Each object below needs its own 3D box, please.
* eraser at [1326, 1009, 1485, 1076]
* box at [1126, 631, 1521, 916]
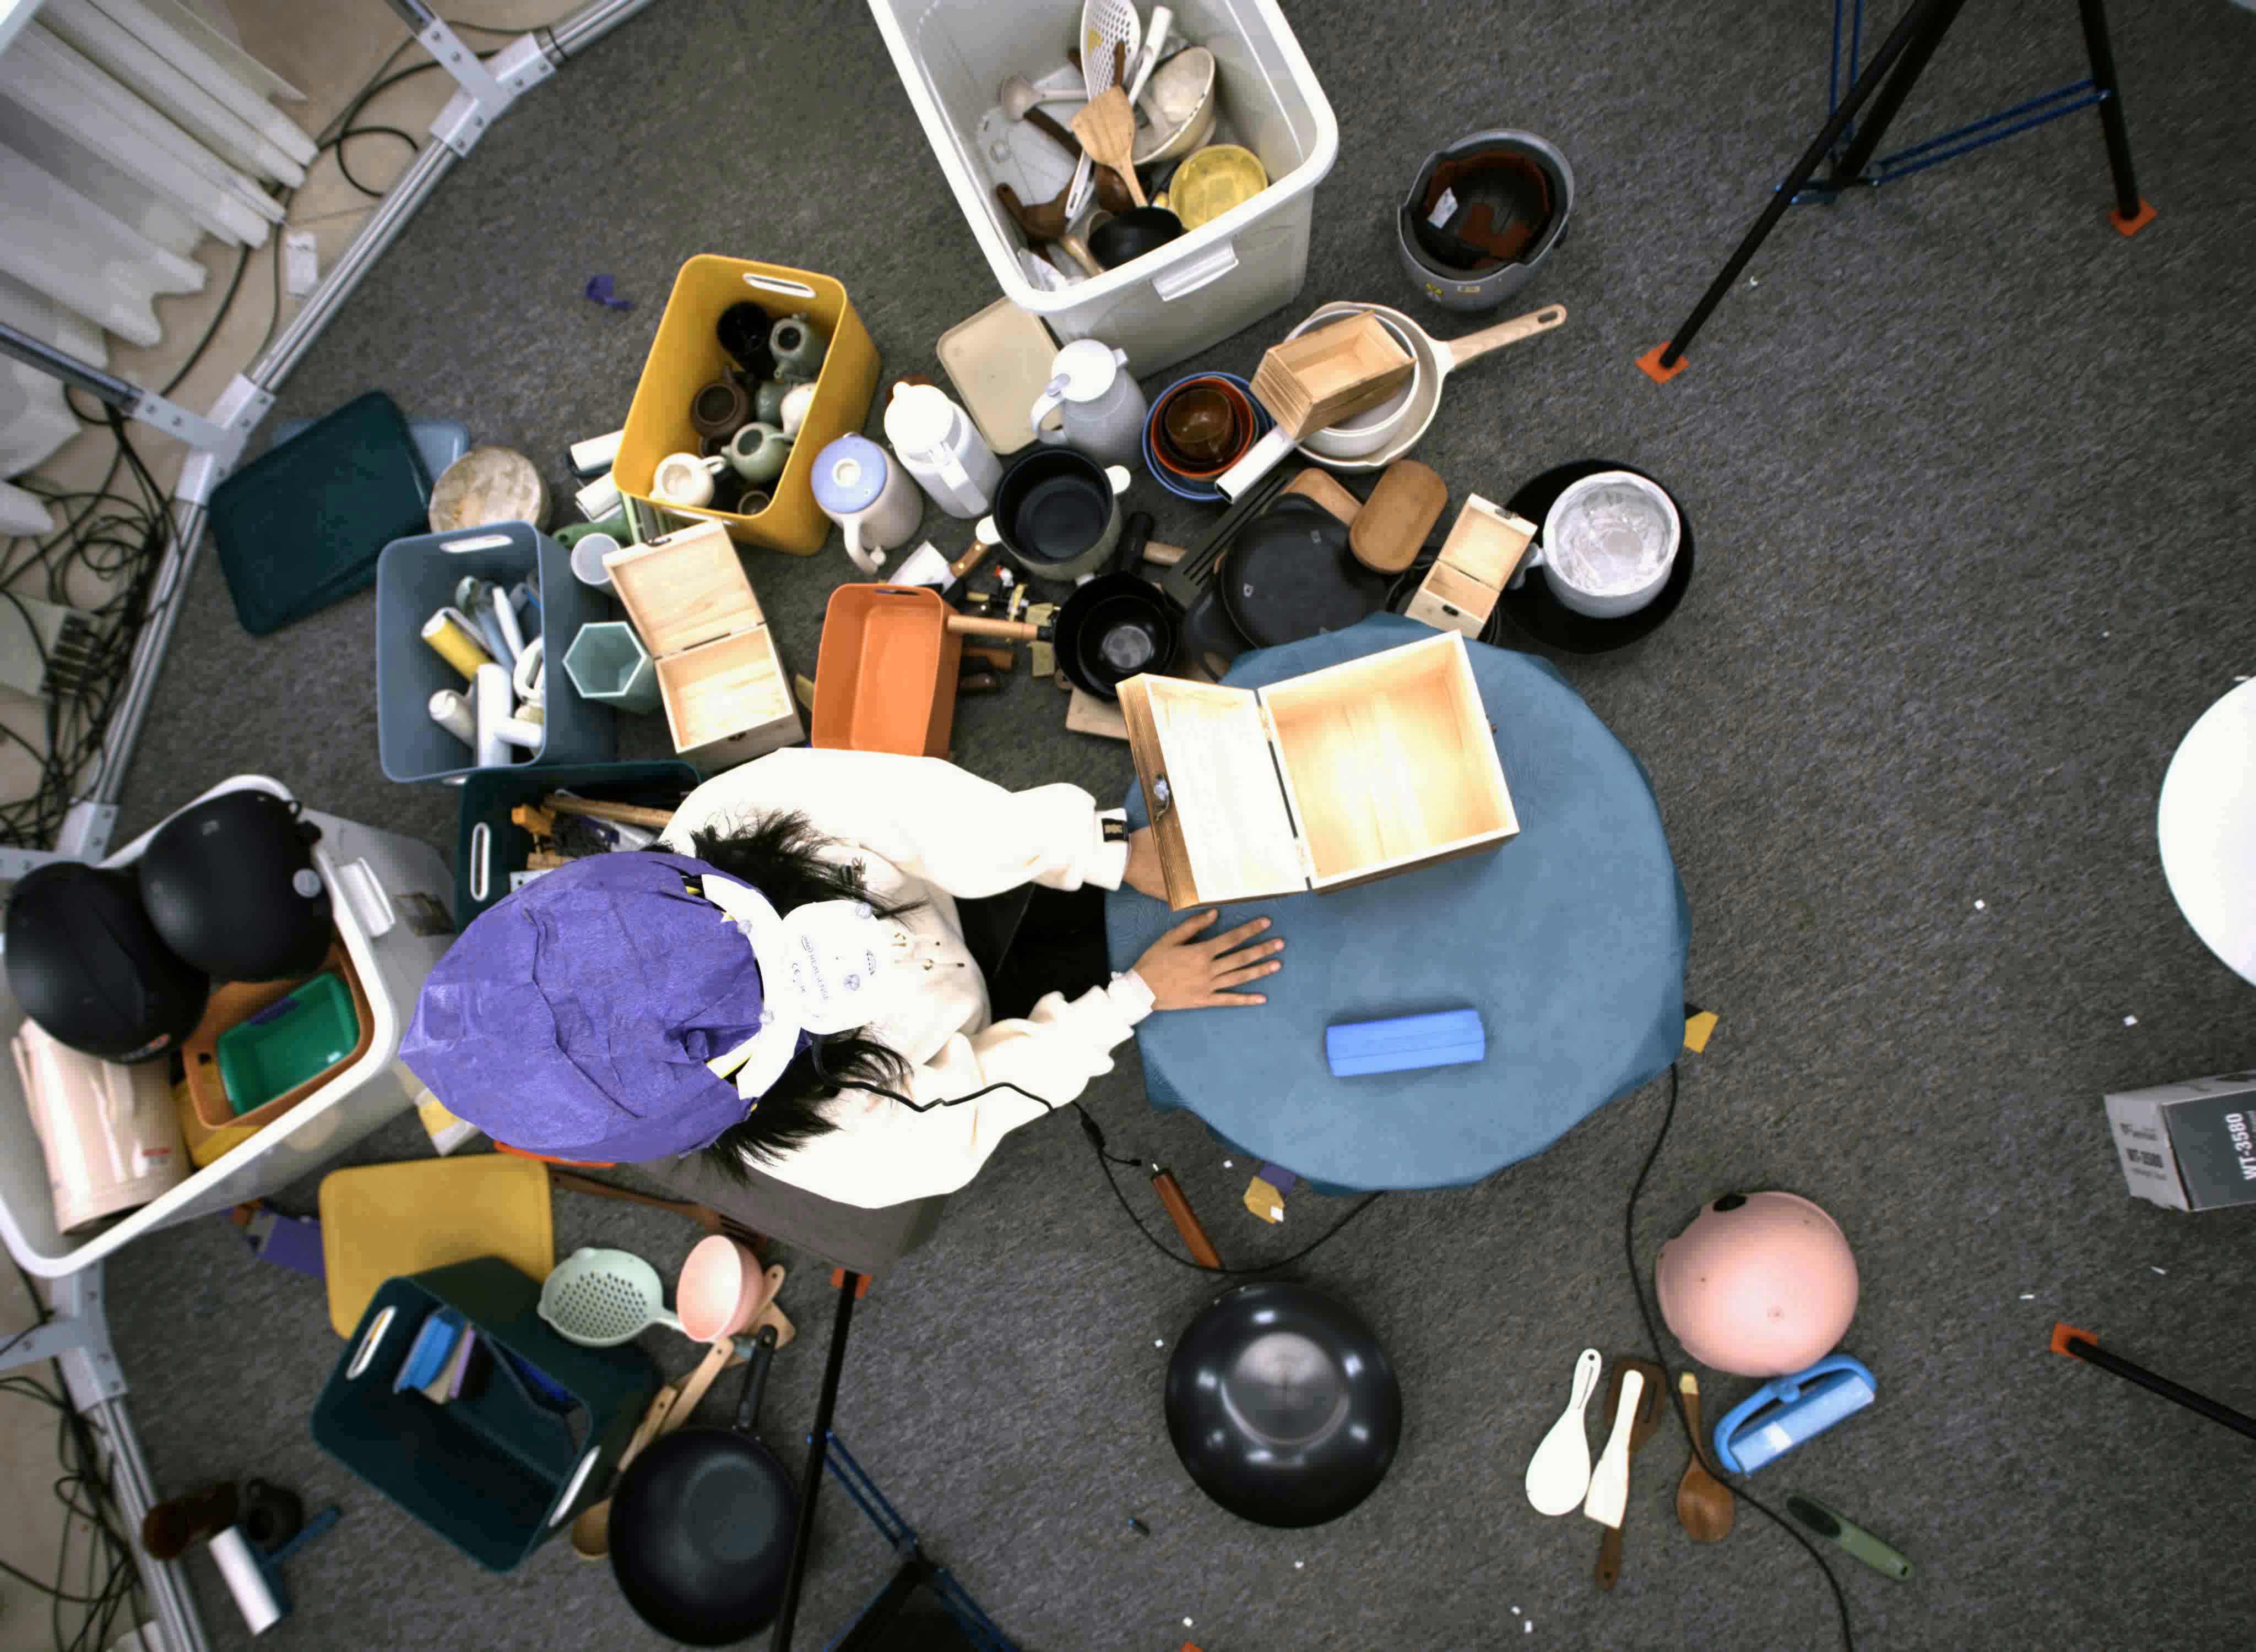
[{"bbox_3d":[0.286,0.222,1.425,0.163,0.047,0.053,-8,84,9],"label":"eraser"},{"bbox_3d":[0.193,-0.050,1.301,0.324,0.375,0.207,-16,83,10],"label":"box"}]
